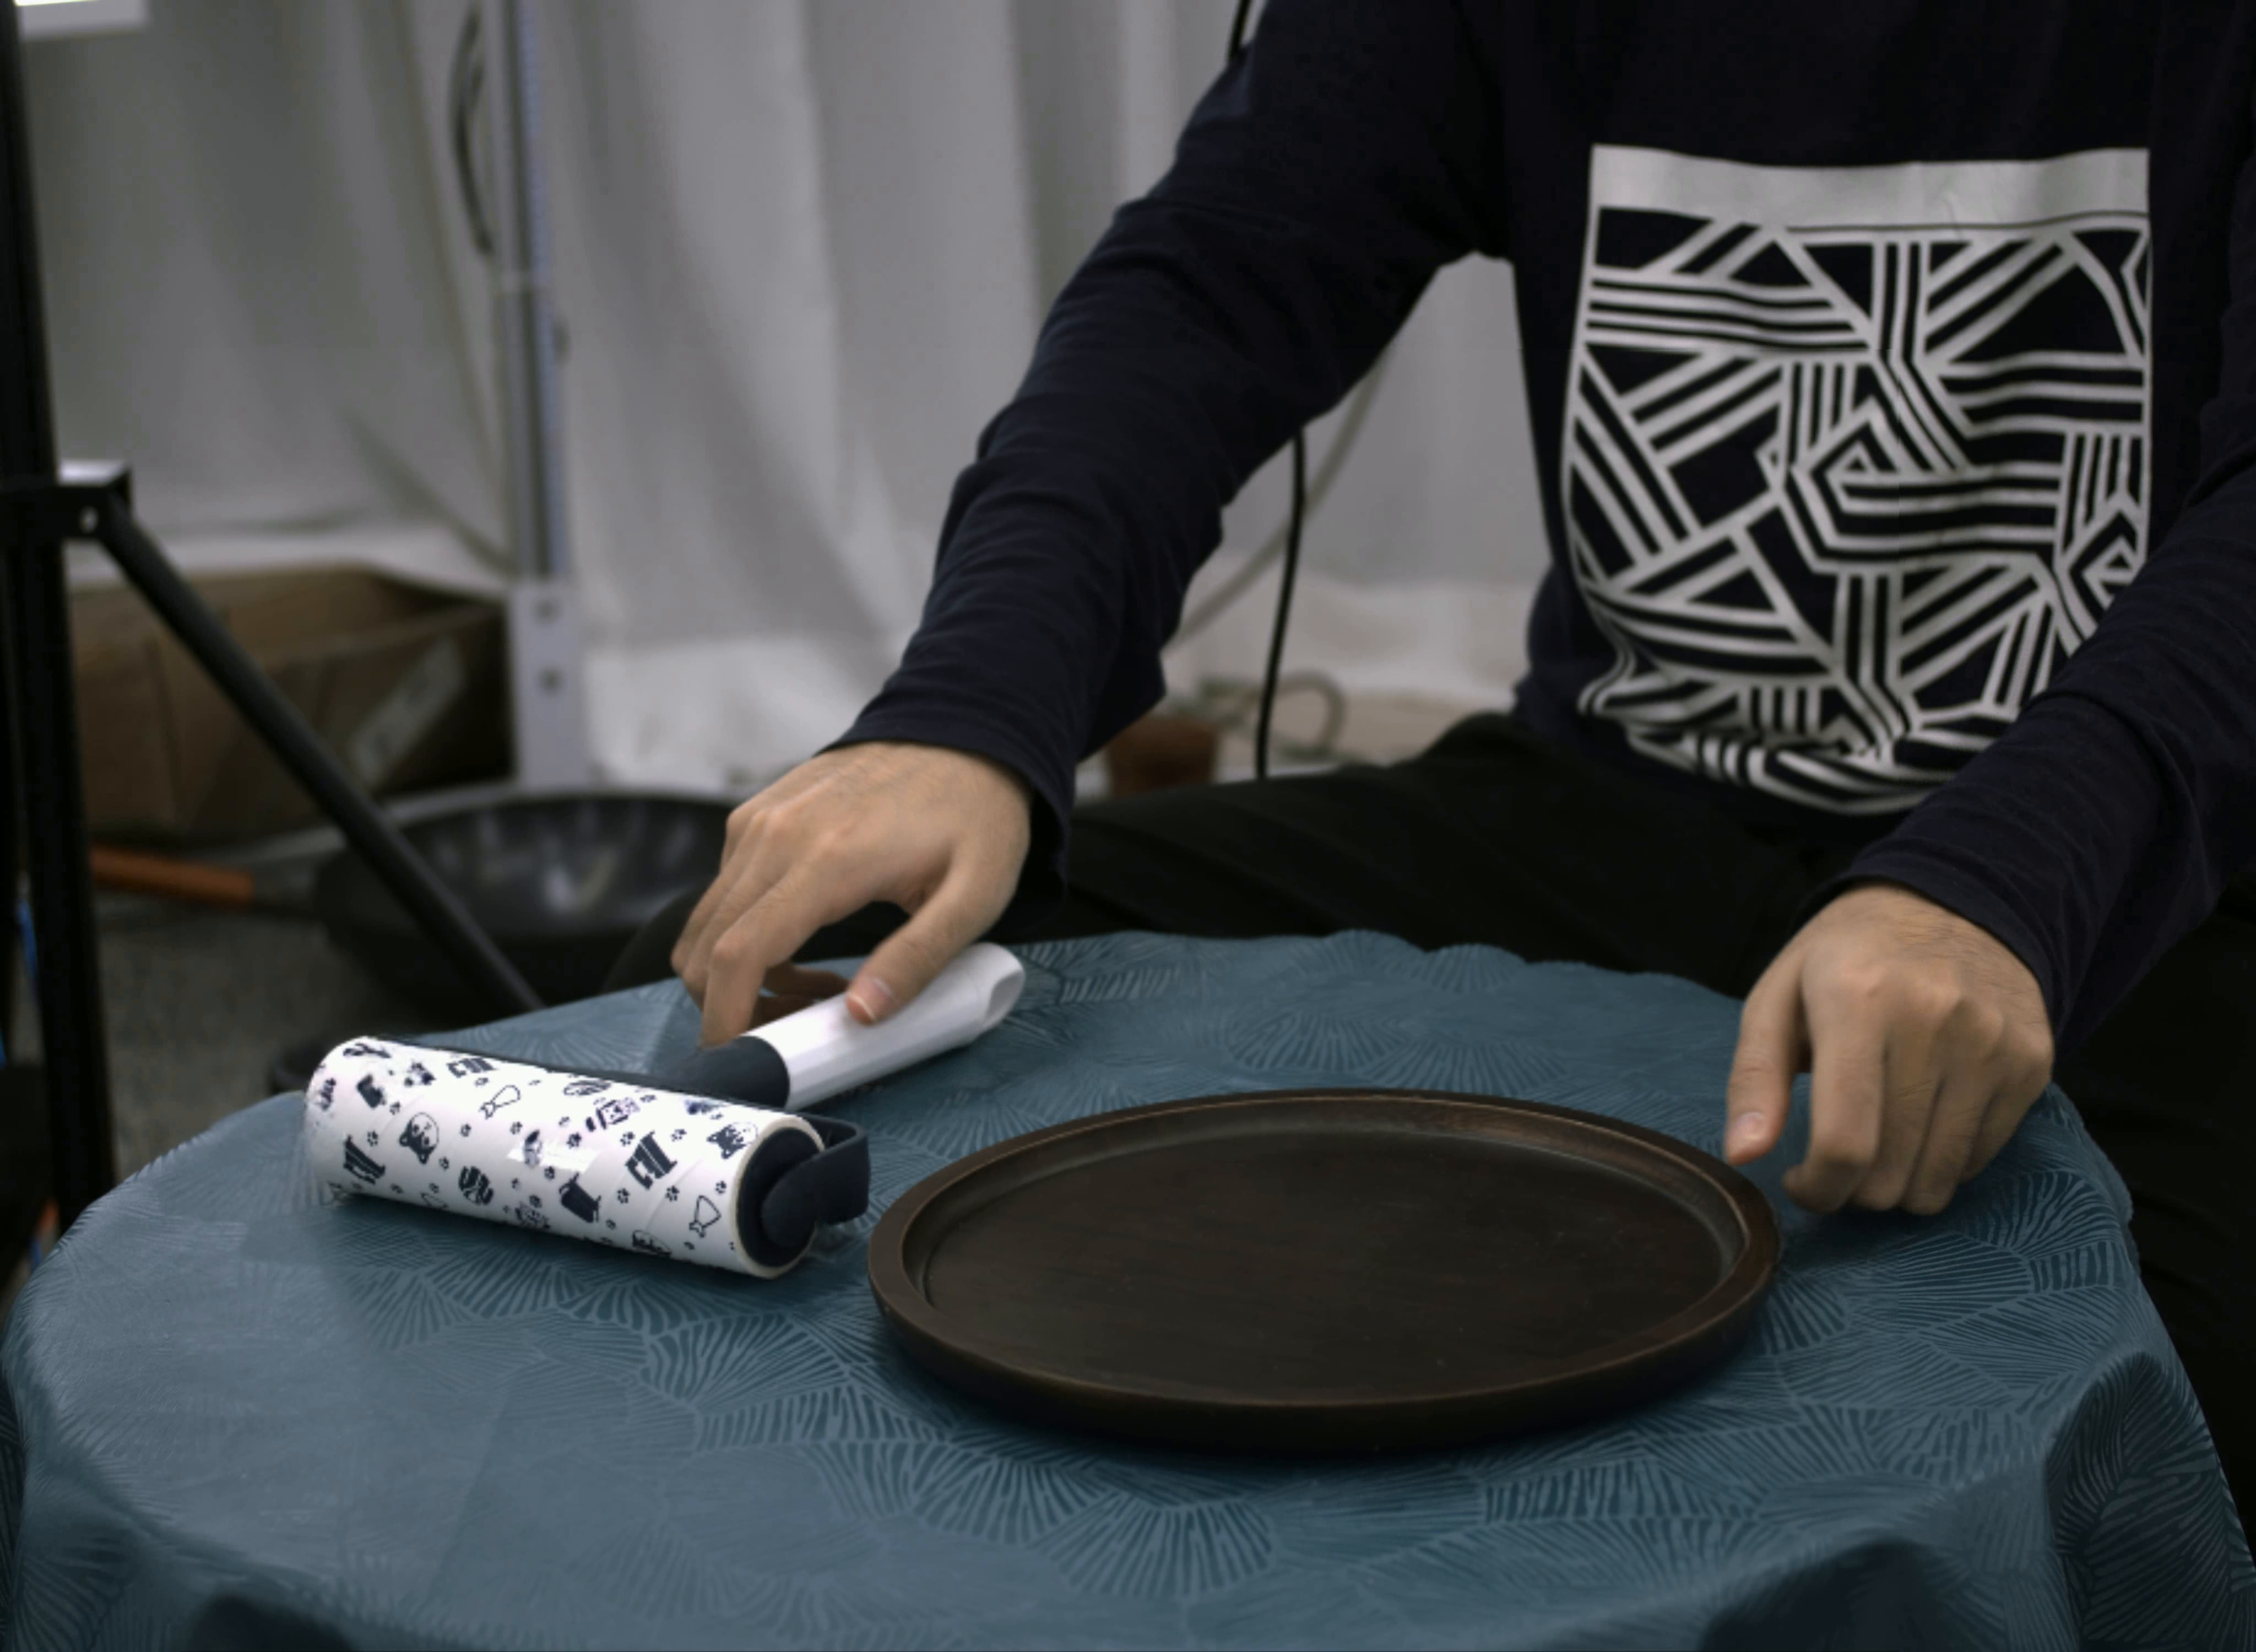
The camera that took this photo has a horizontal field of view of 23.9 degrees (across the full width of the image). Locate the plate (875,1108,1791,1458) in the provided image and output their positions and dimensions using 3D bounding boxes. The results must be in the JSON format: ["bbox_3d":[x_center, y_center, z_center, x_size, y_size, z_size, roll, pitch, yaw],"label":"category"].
[{"bbox_3d":[0.056,0.123,1.462,0.253,0.029,0.256,-2,14,-1],"label":"plate"}]

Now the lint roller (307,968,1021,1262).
[{"bbox_3d":[-0.110,0.073,1.629,0.180,0.050,0.242,7,16,33],"label":"lint roller"}]
